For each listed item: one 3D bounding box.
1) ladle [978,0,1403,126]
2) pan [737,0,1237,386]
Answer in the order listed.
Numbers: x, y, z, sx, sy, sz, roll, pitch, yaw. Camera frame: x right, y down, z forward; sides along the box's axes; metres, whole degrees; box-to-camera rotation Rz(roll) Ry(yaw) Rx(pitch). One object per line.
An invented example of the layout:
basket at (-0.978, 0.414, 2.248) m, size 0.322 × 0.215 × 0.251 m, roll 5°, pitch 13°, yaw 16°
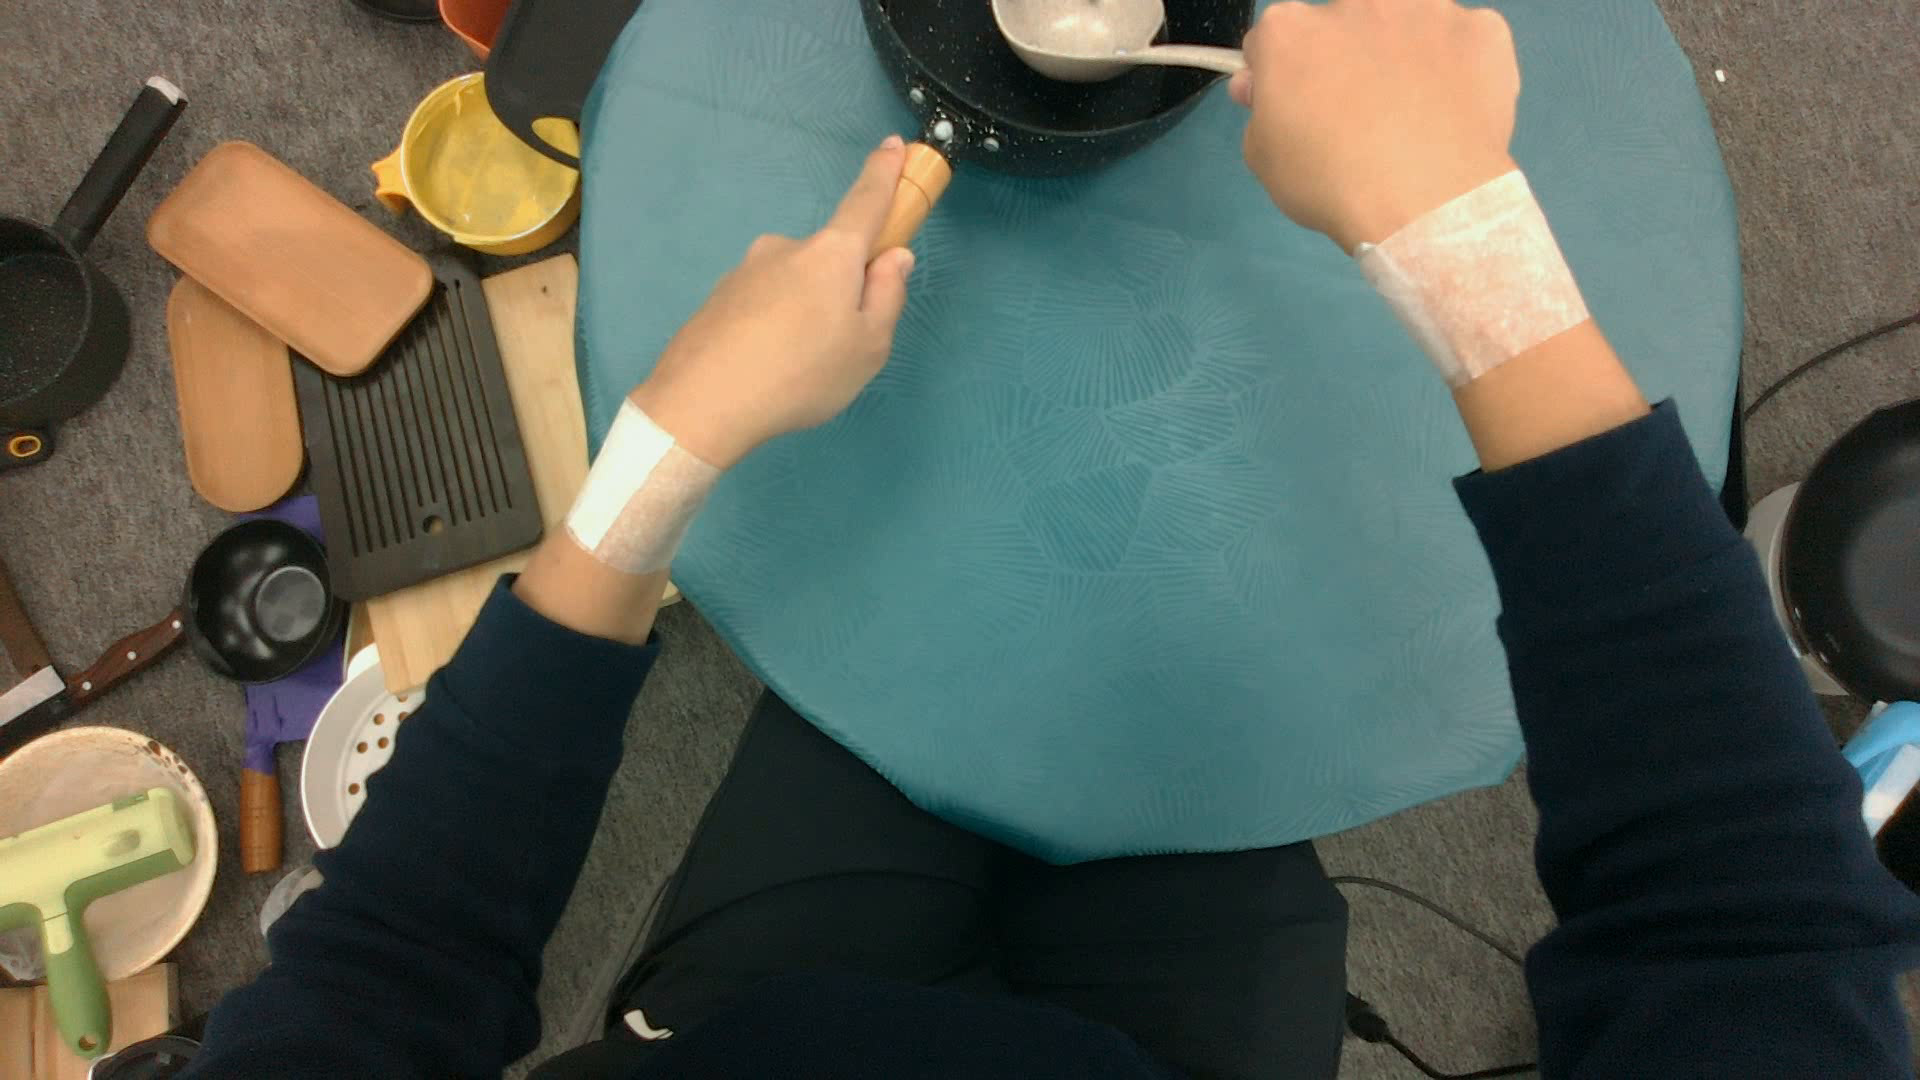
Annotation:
ladle at (0.095, -0.227, 0.589) m, size 0.089 × 0.275 × 0.069 m, roll -13°, pitch 116°, yaw -21°
pan at (-0.003, -0.201, 0.638) m, size 0.207 × 0.108 × 0.343 m, roll 30°, pitch 76°, yaw -4°
